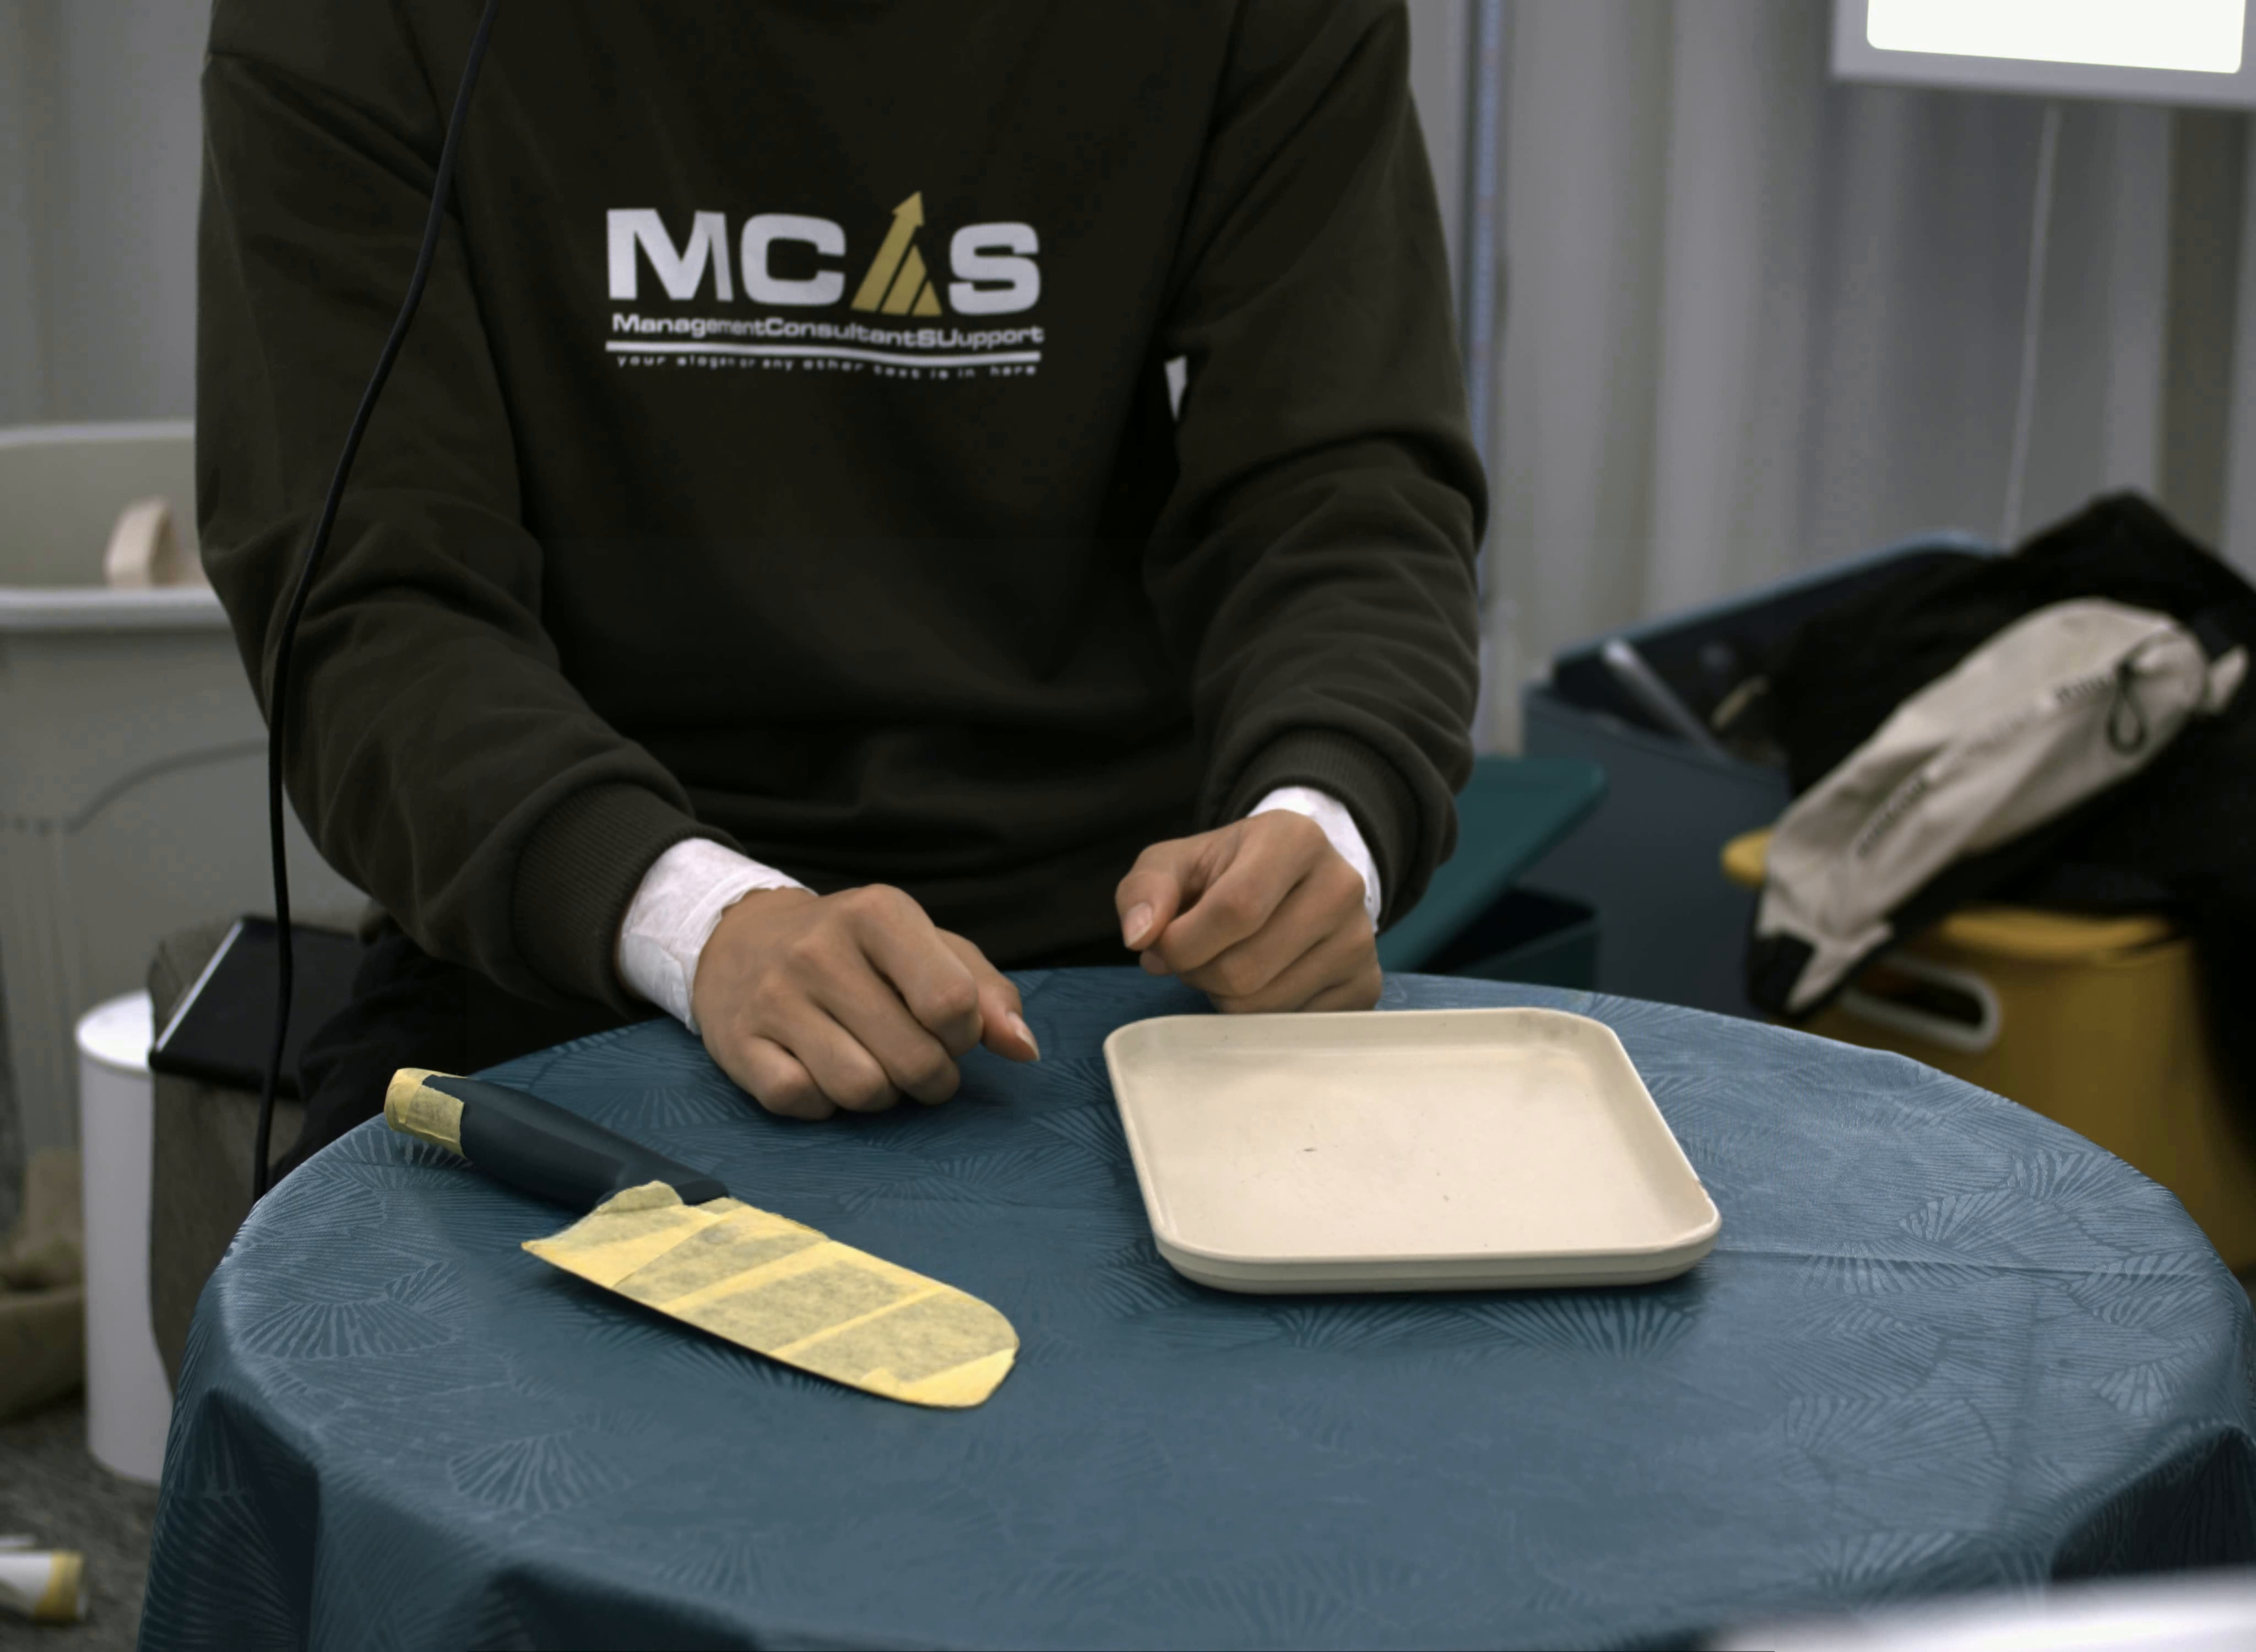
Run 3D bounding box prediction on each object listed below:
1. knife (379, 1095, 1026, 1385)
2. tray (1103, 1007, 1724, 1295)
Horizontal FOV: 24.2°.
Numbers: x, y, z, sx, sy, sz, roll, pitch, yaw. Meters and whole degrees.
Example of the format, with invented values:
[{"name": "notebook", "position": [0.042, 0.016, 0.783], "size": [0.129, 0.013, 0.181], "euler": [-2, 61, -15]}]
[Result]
[{"name": "knife", "position": [-0.136, 0.124, 1.552], "size": [0.285, 0.027, 0.081], "euler": [16, 20, 42]}, {"name": "tray", "position": [0.084, 0.100, 1.640], "size": [0.171, 0.017, 0.238], "euler": [-1, 15, -5]}]
